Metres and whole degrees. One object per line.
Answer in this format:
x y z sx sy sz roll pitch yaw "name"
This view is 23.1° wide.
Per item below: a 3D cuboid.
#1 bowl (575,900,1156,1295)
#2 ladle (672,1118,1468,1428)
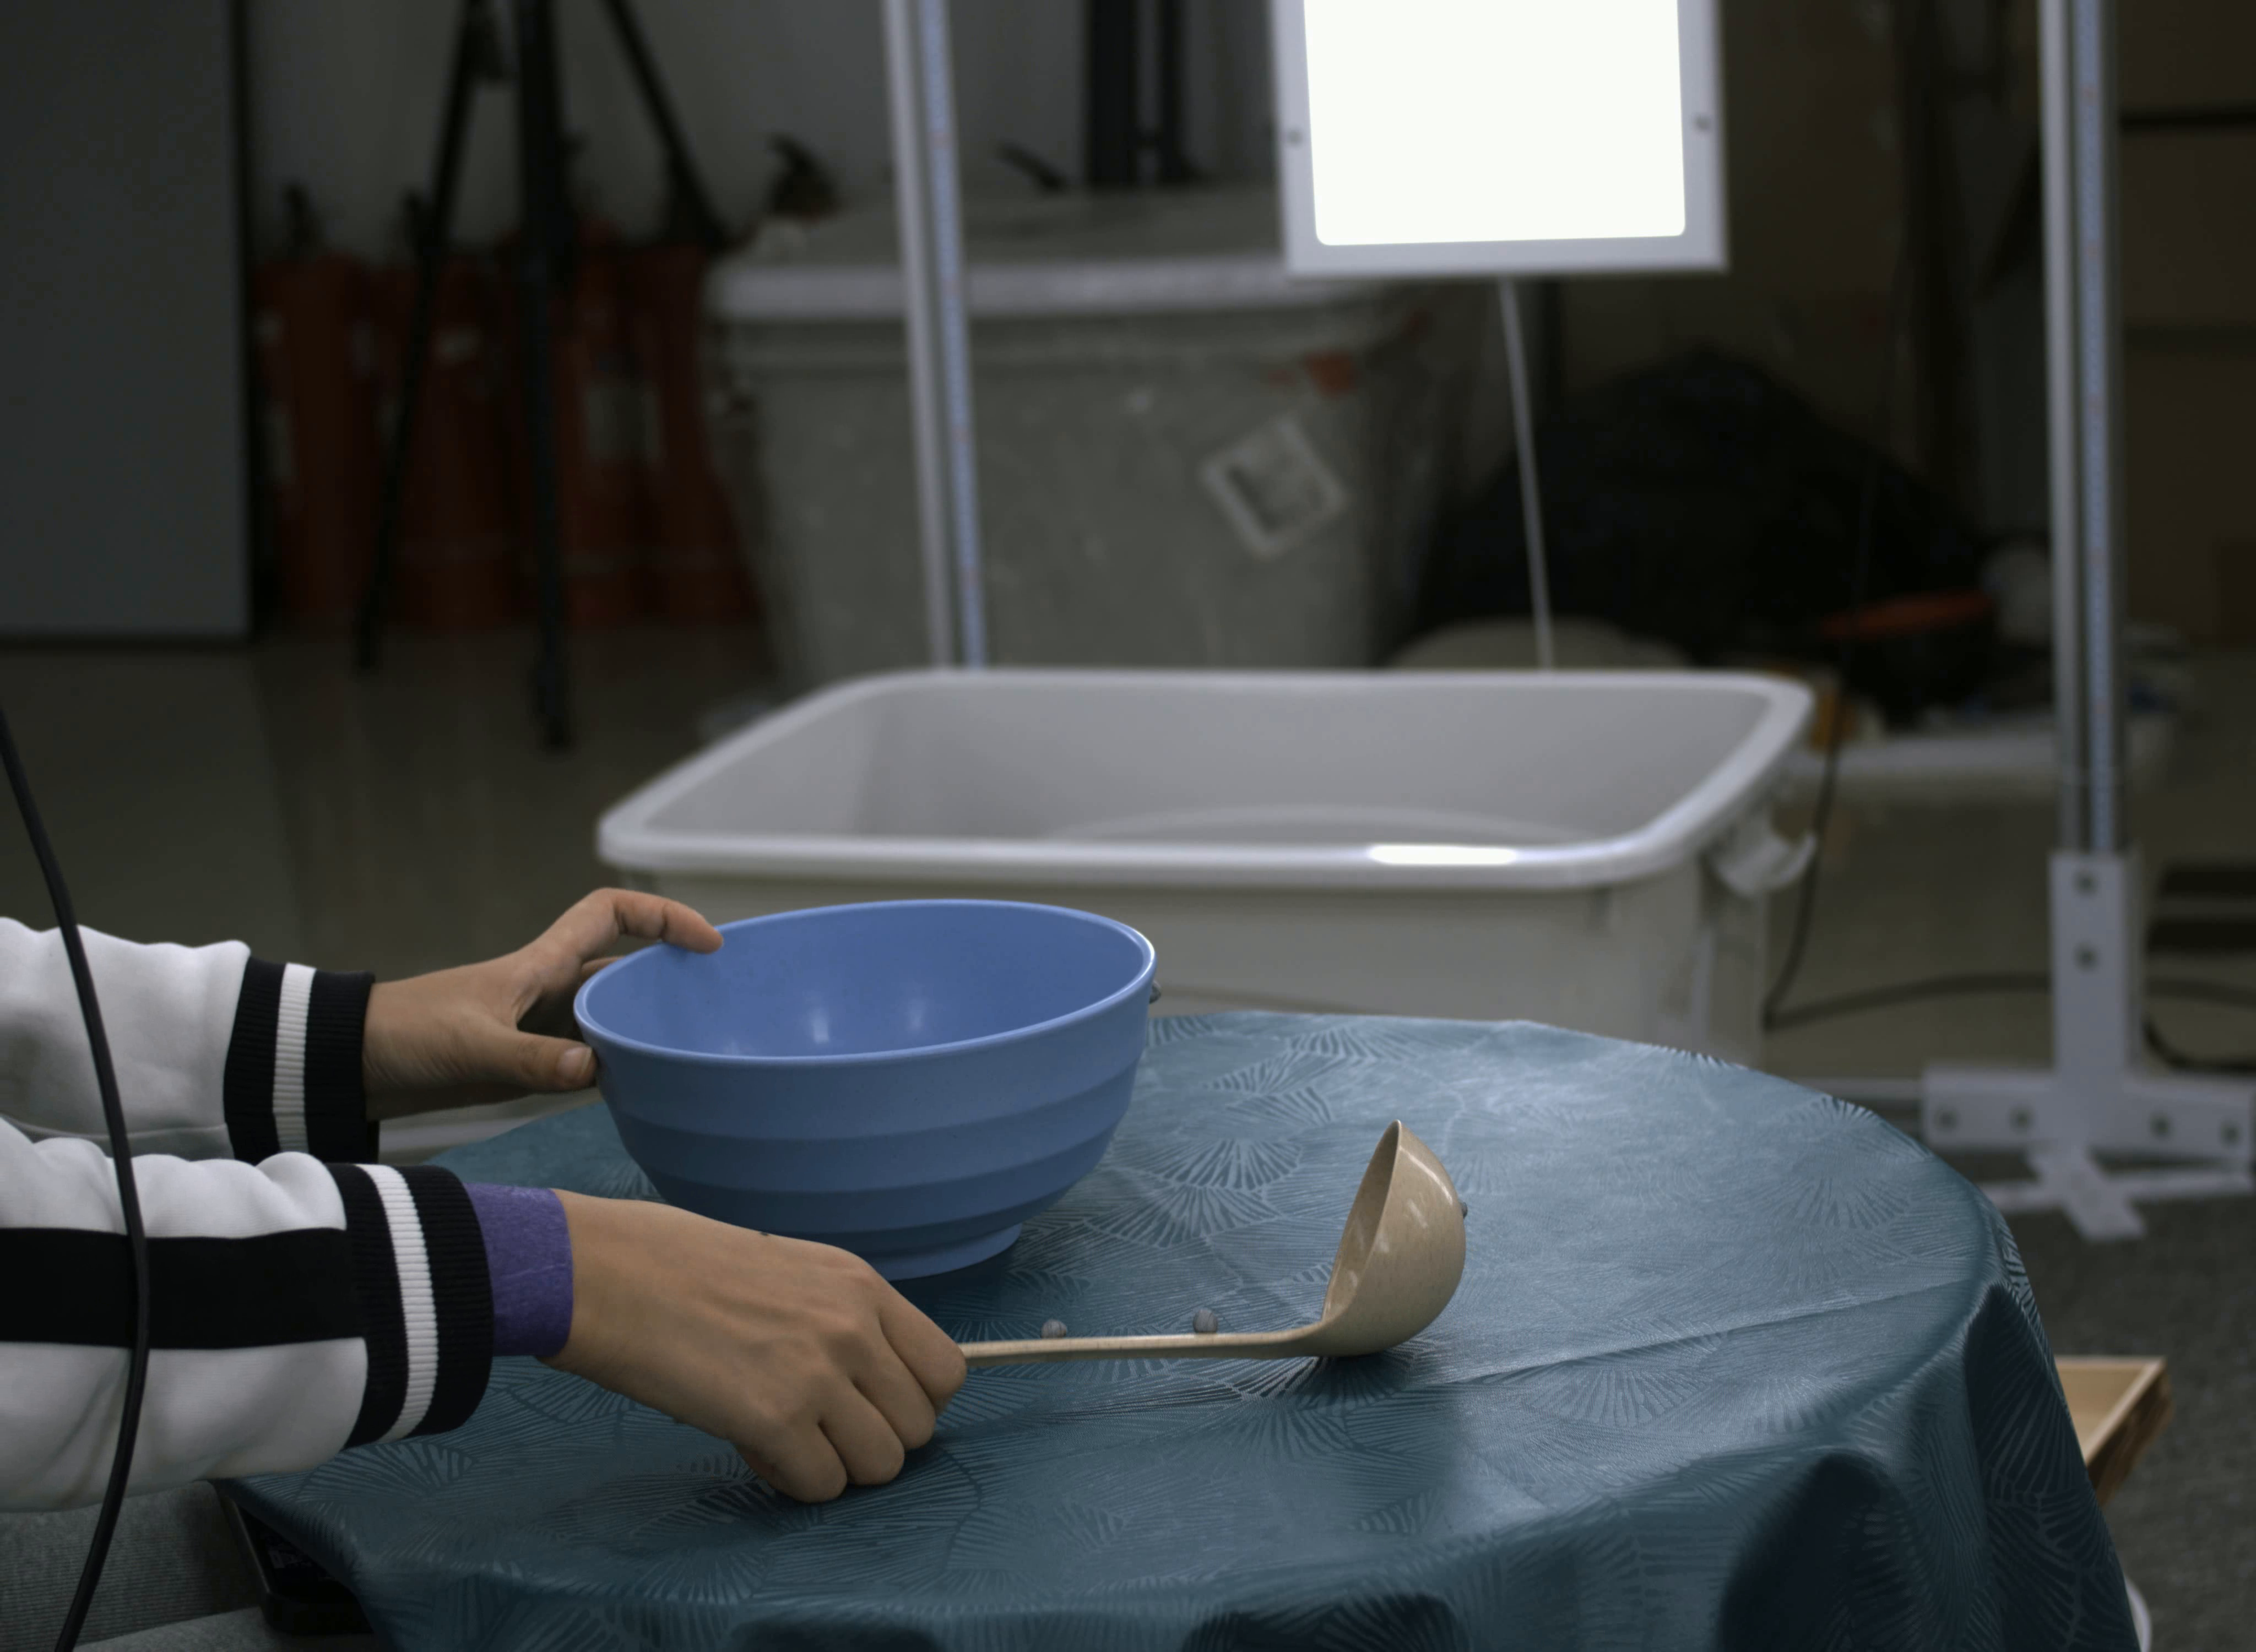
-0.085 0.098 1.860 0.196 0.096 0.196 -5 15 0 "bowl"
-0.020 0.136 1.688 0.251 0.073 0.073 -4 -18 -14 "ladle"
